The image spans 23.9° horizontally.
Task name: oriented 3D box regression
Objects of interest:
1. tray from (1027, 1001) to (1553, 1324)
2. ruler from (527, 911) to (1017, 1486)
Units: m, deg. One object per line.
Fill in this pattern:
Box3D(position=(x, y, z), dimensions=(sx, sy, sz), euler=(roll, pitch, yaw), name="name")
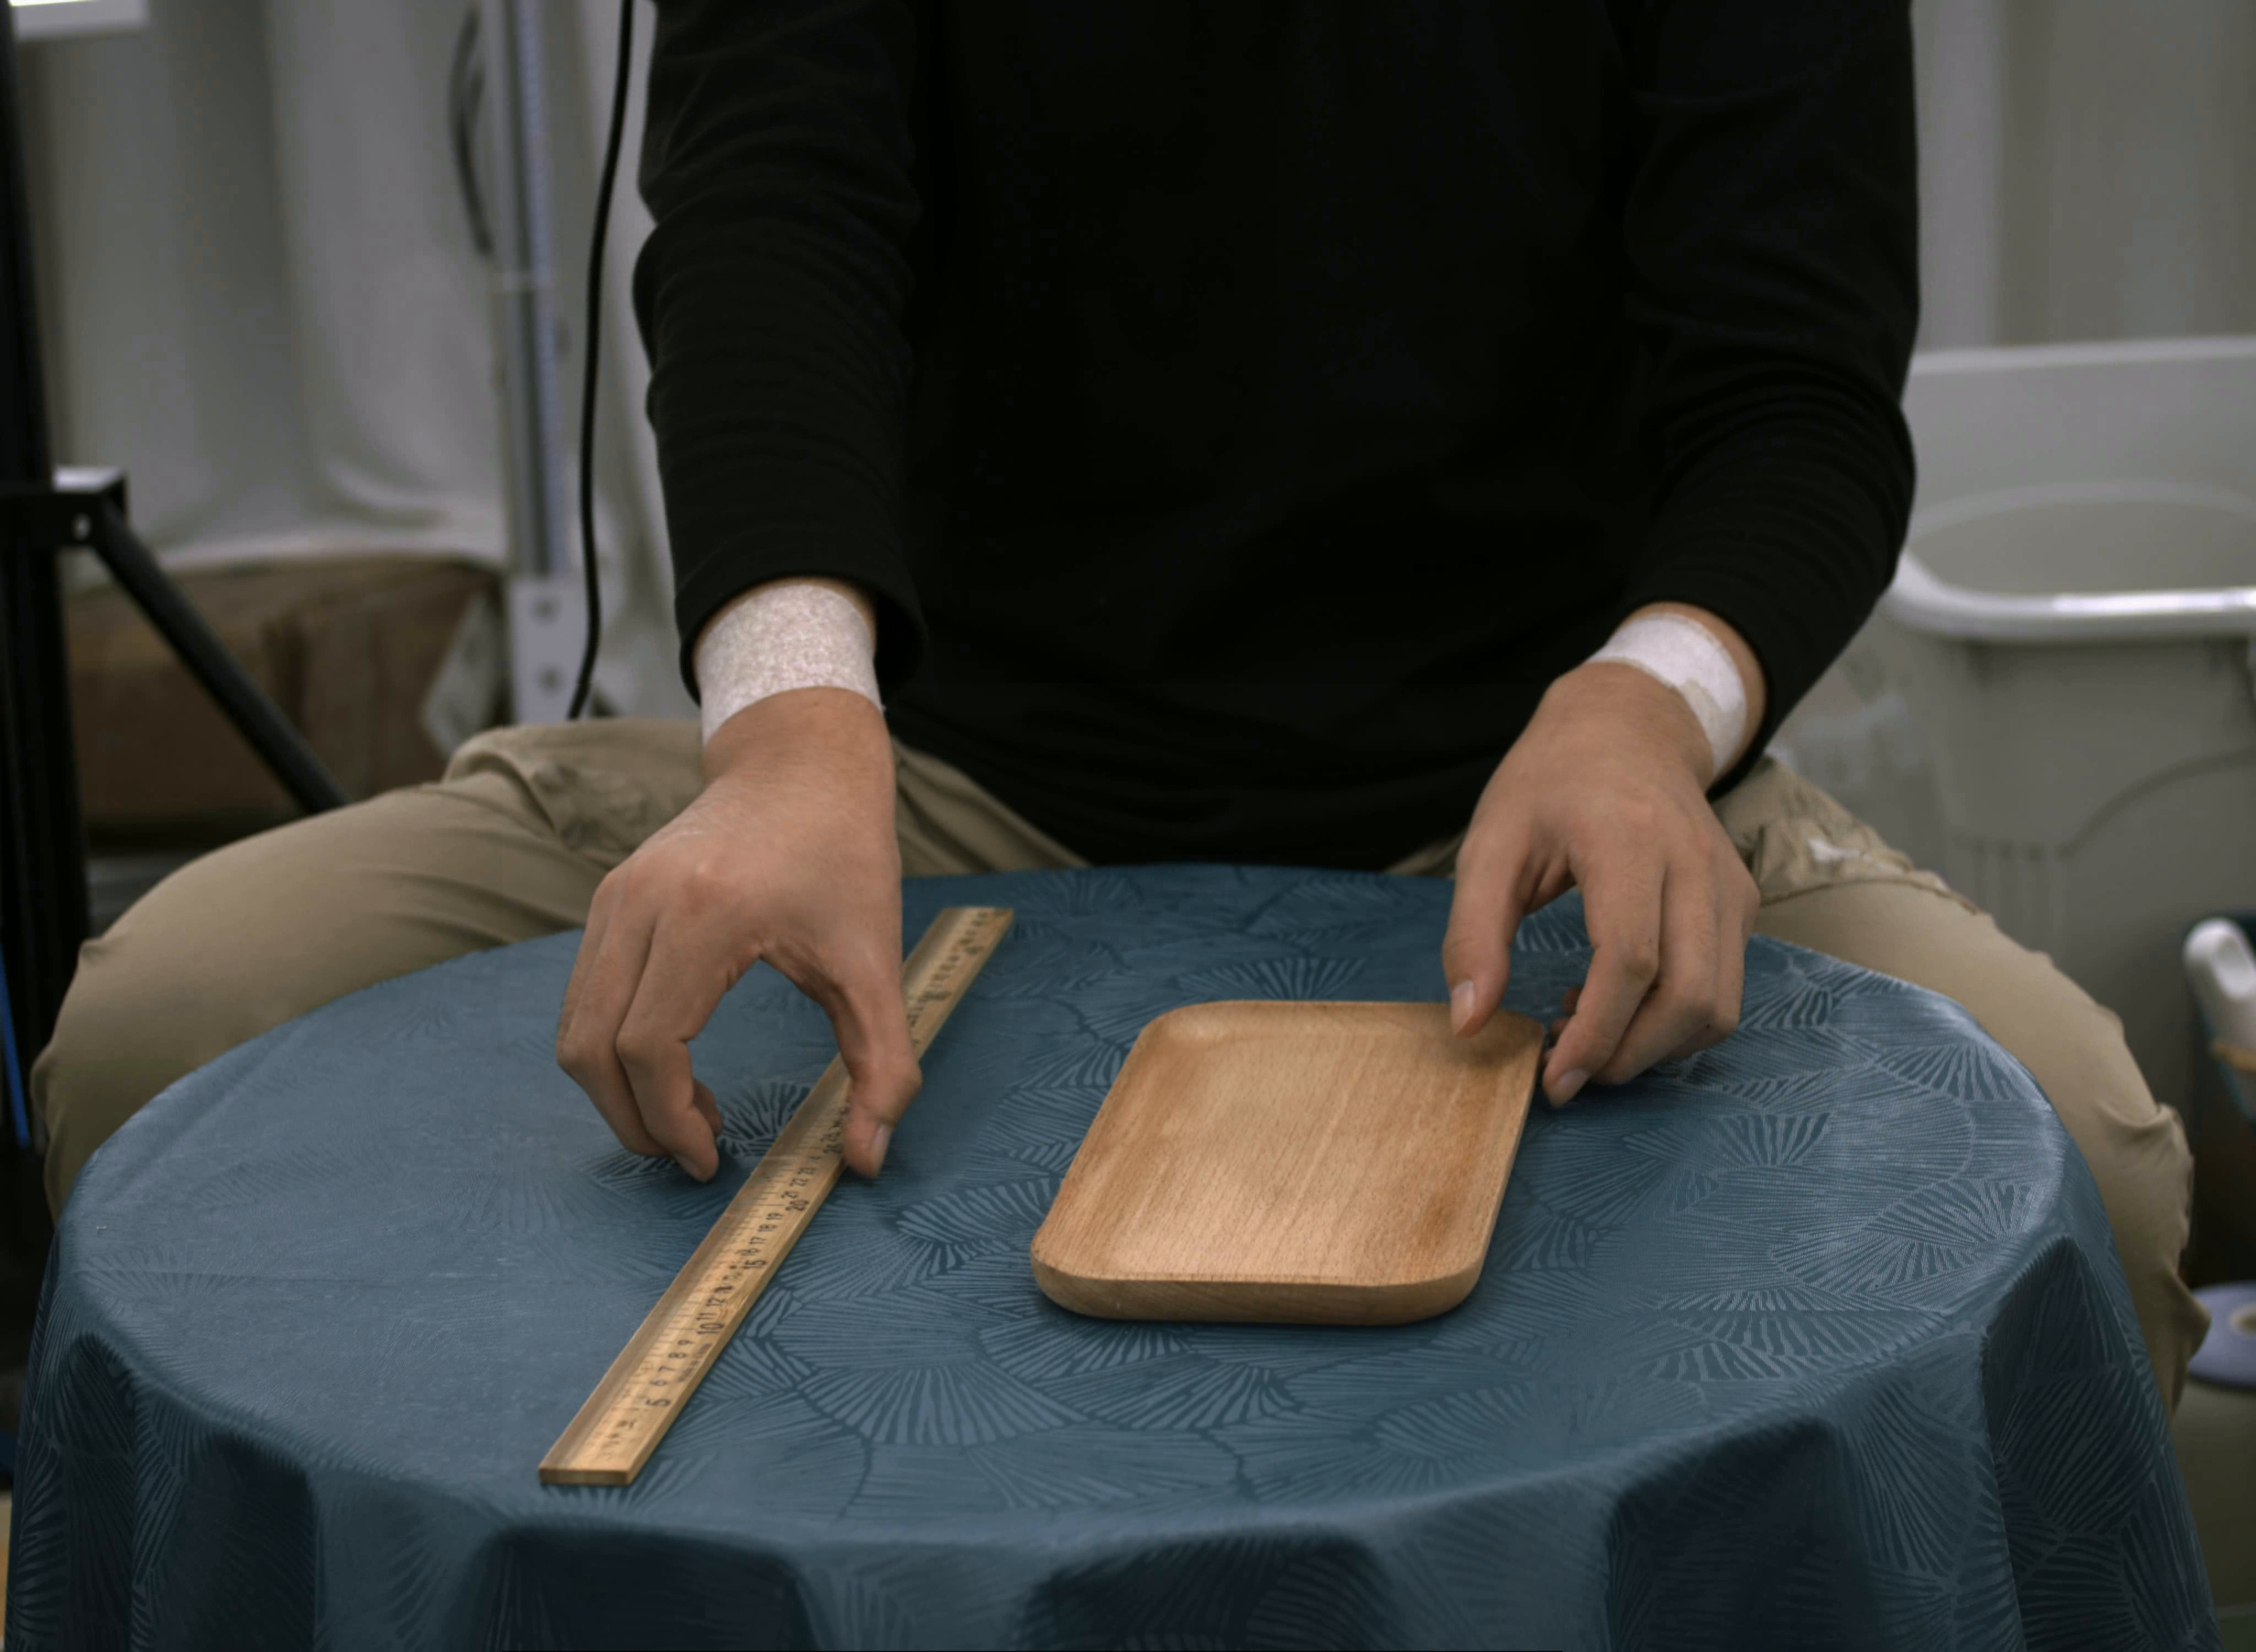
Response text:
Box3D(position=(0.052, 0.096, 1.560), dimensions=(0.131, 0.023, 0.249), euler=(3, 15, 11), name="tray")
Box3D(position=(-0.095, 0.099, 1.596), dimensions=(0.027, 0.006, 0.498), euler=(3, 16, 10), name="ruler")
